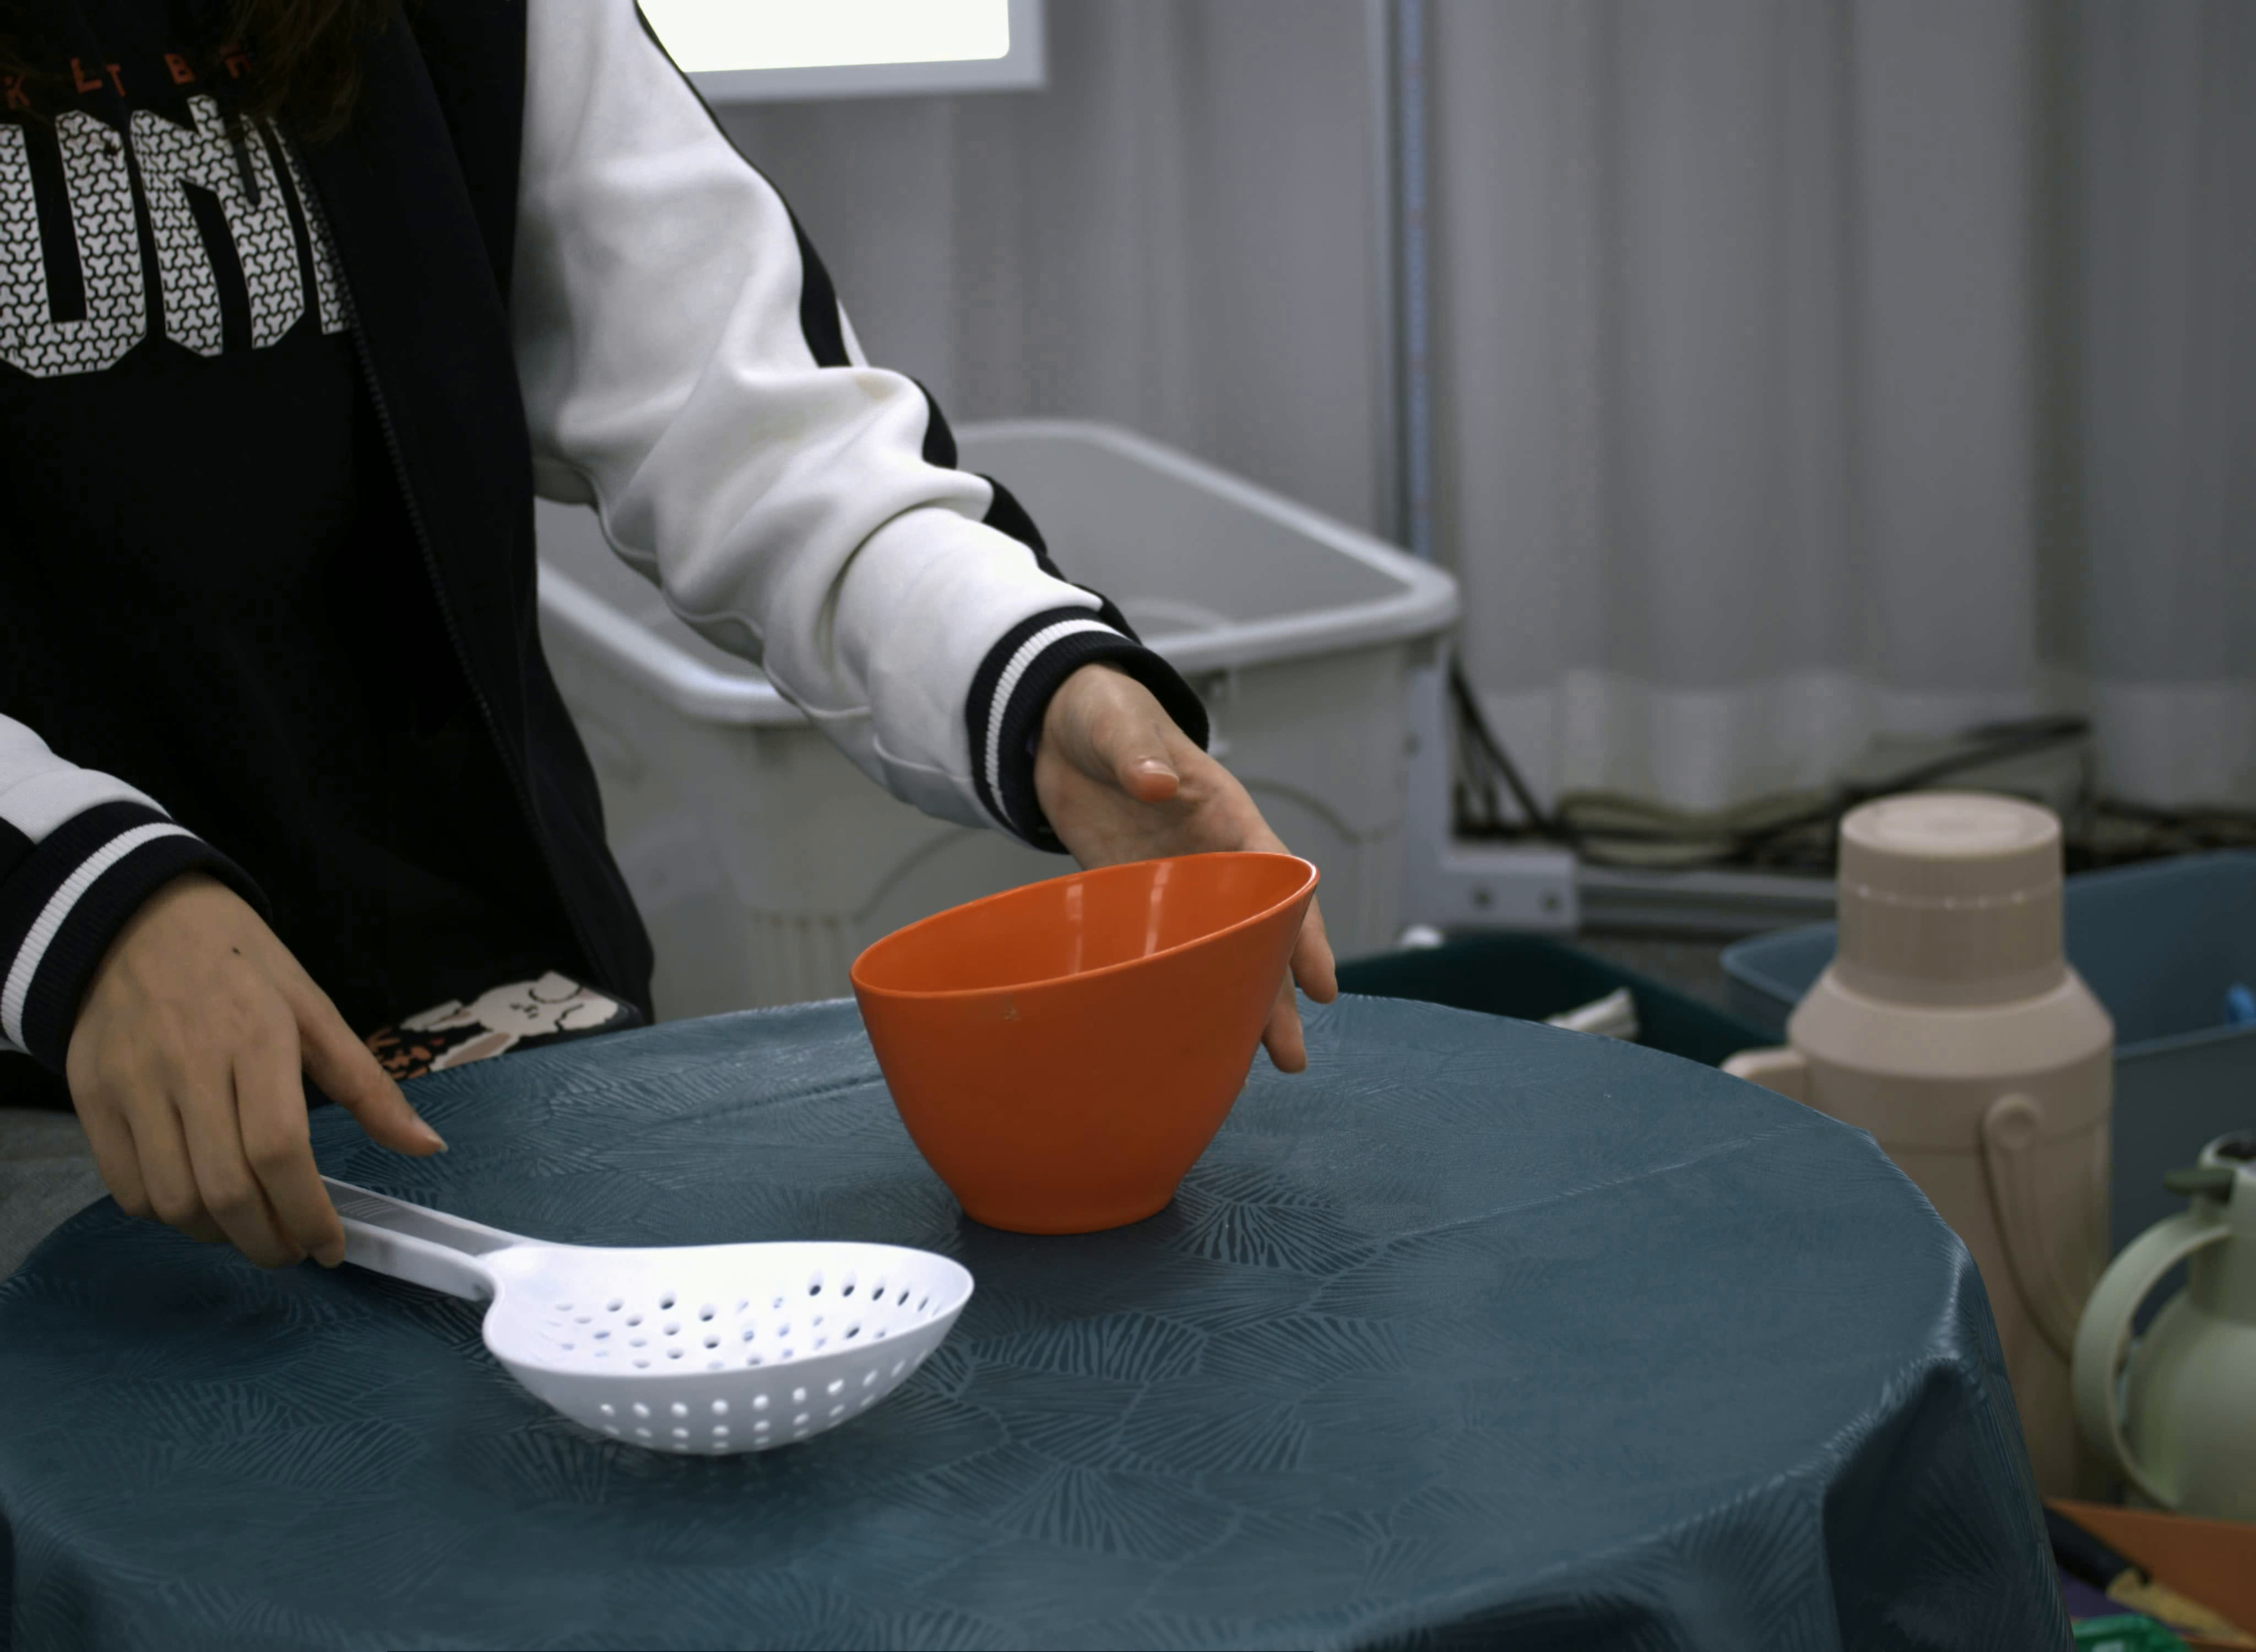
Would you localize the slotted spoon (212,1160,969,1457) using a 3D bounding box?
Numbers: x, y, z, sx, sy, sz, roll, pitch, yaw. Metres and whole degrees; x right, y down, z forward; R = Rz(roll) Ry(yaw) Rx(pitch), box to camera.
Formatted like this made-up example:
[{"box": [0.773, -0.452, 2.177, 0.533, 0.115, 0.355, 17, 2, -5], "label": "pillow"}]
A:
[{"box": [-0.176, 0.131, 1.599, 0.135, 0.045, 0.352, -11, 16, -36], "label": "slotted spoon"}]

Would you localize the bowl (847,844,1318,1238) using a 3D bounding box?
[{"box": [-0.011, 0.068, 1.692, 0.147, 0.104, 0.149, -5, 17, 1], "label": "bowl"}]
